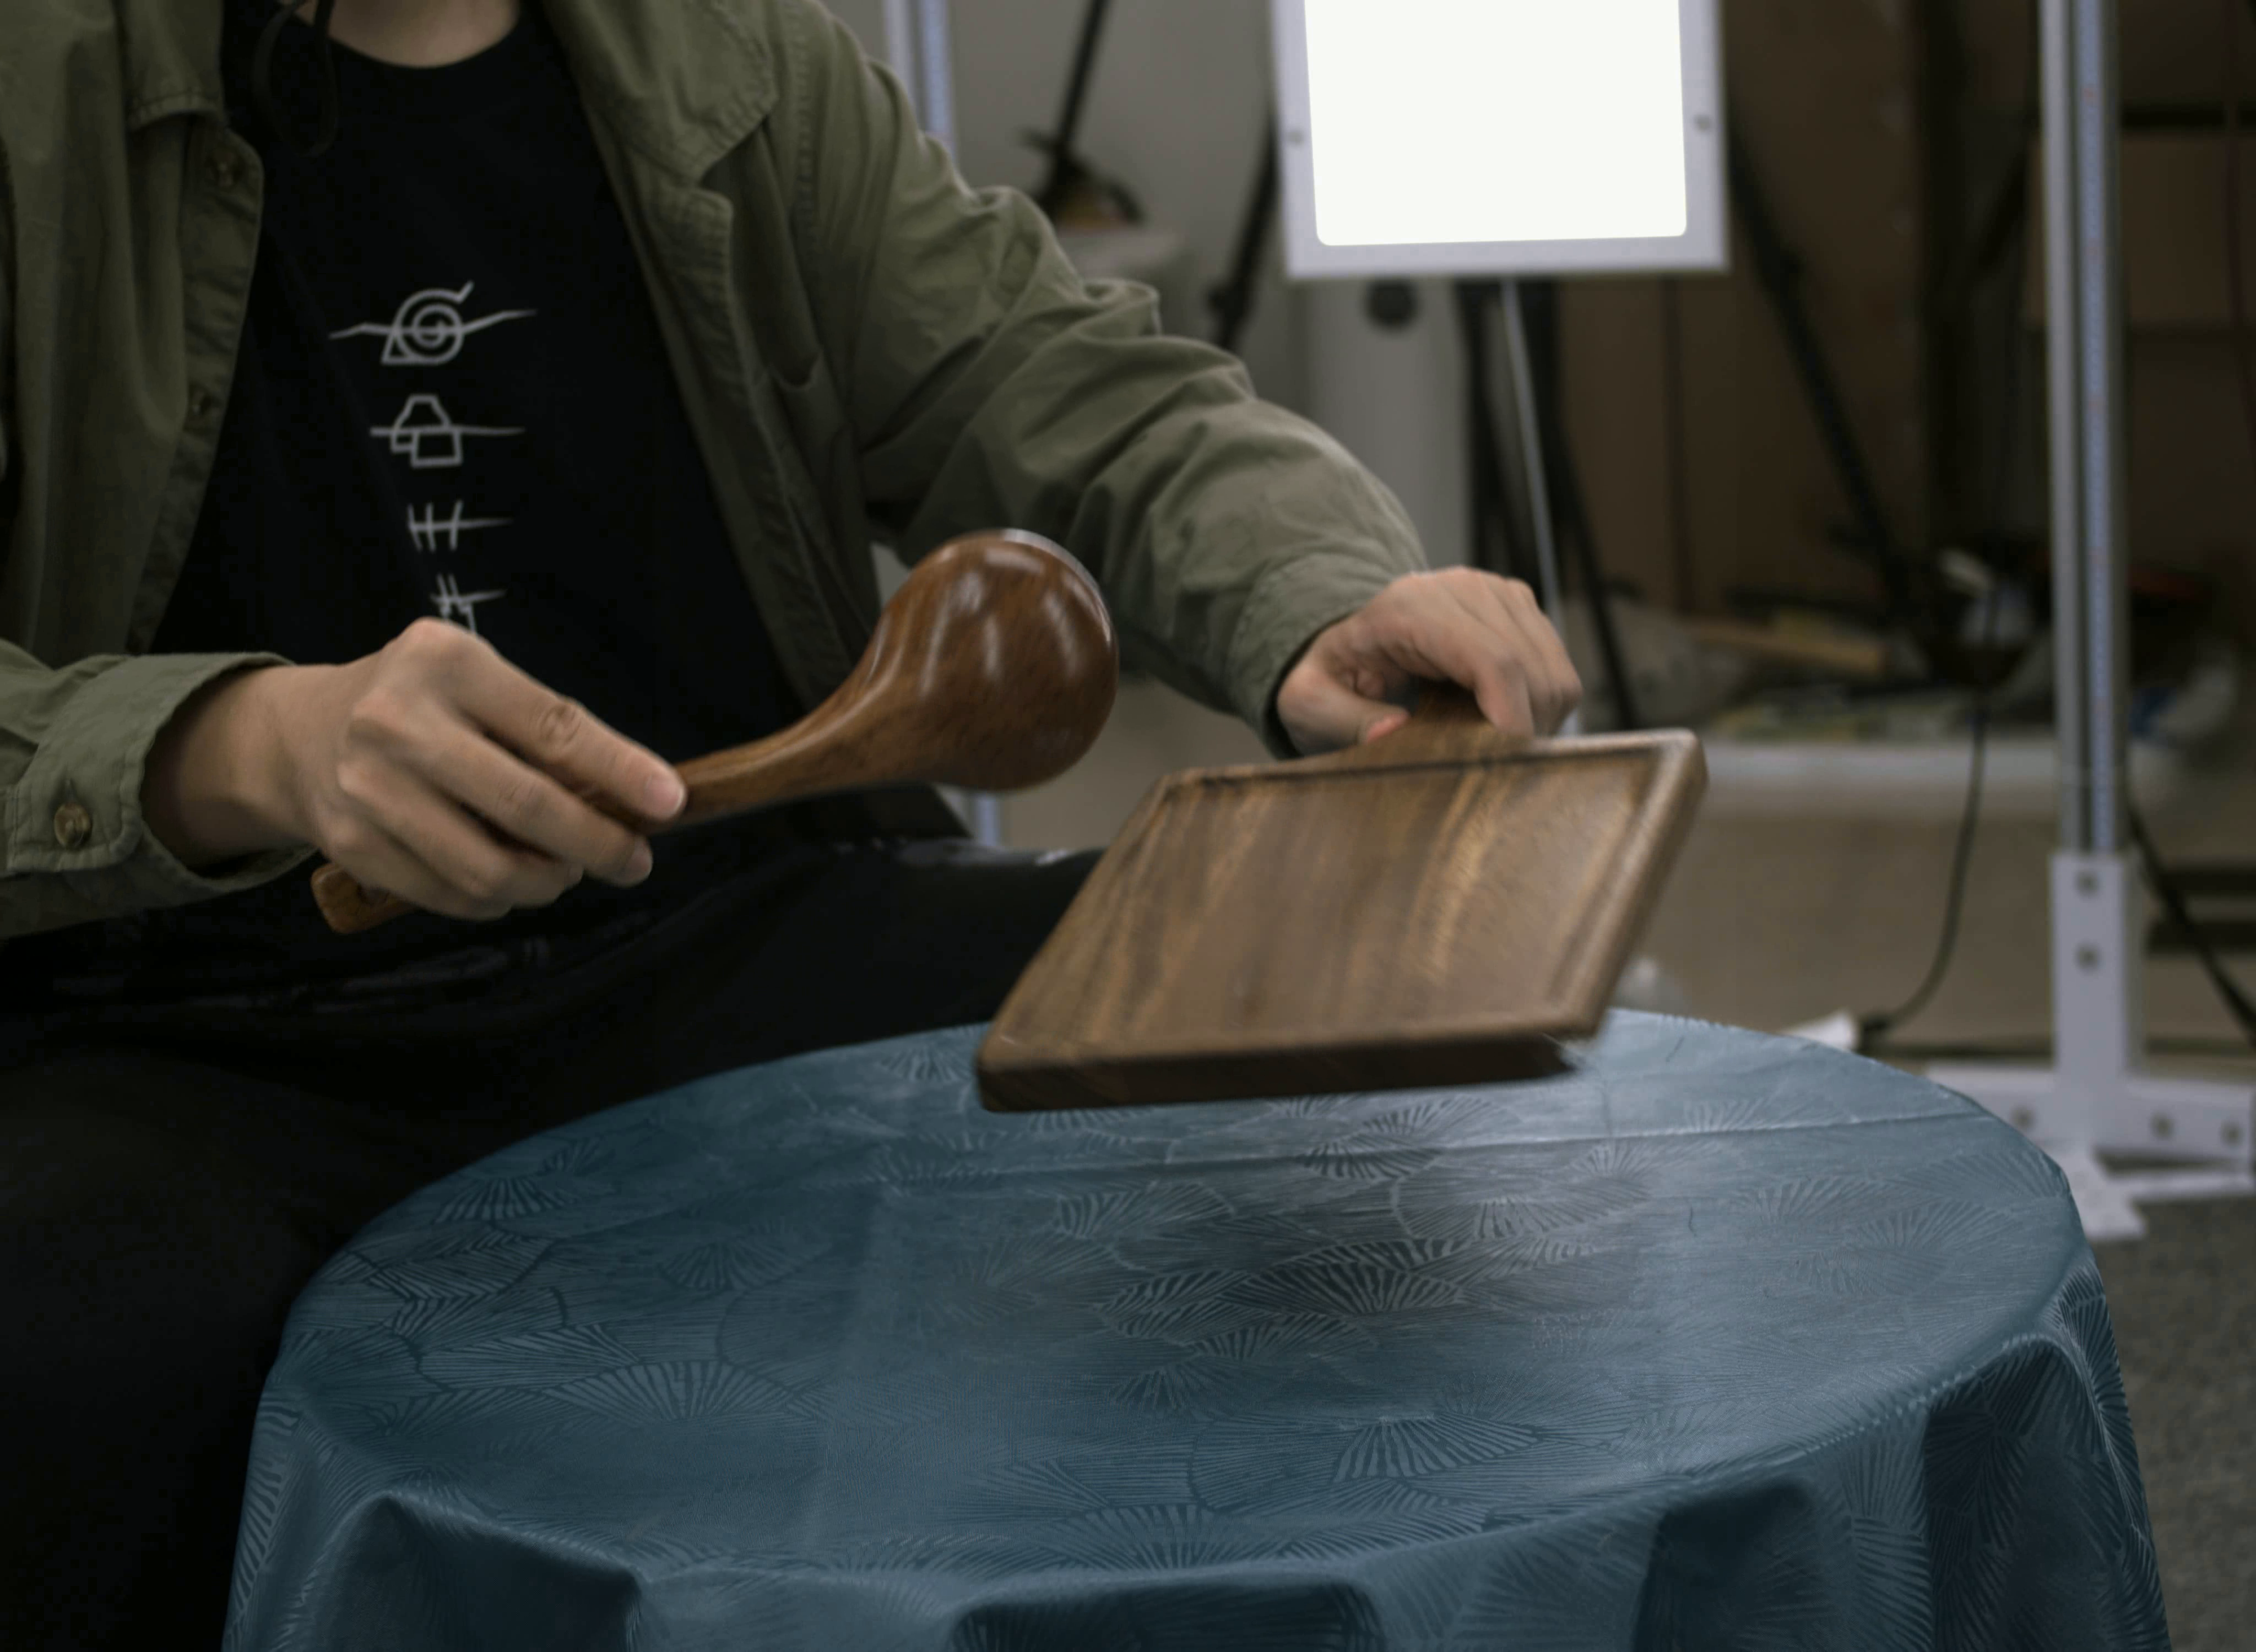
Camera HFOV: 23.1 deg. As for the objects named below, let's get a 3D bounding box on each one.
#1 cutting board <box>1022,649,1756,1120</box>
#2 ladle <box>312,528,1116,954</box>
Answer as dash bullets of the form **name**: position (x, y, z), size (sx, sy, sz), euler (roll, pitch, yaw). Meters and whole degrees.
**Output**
- **cutting board**: position (0.102, 0.012, 1.825), size (0.203, 0.023, 0.347), euler (-4, 22, 18)
- **ladle**: position (-0.131, -0.021, 1.719), size (0.279, 0.082, 0.075), euler (-17, 16, 29)
